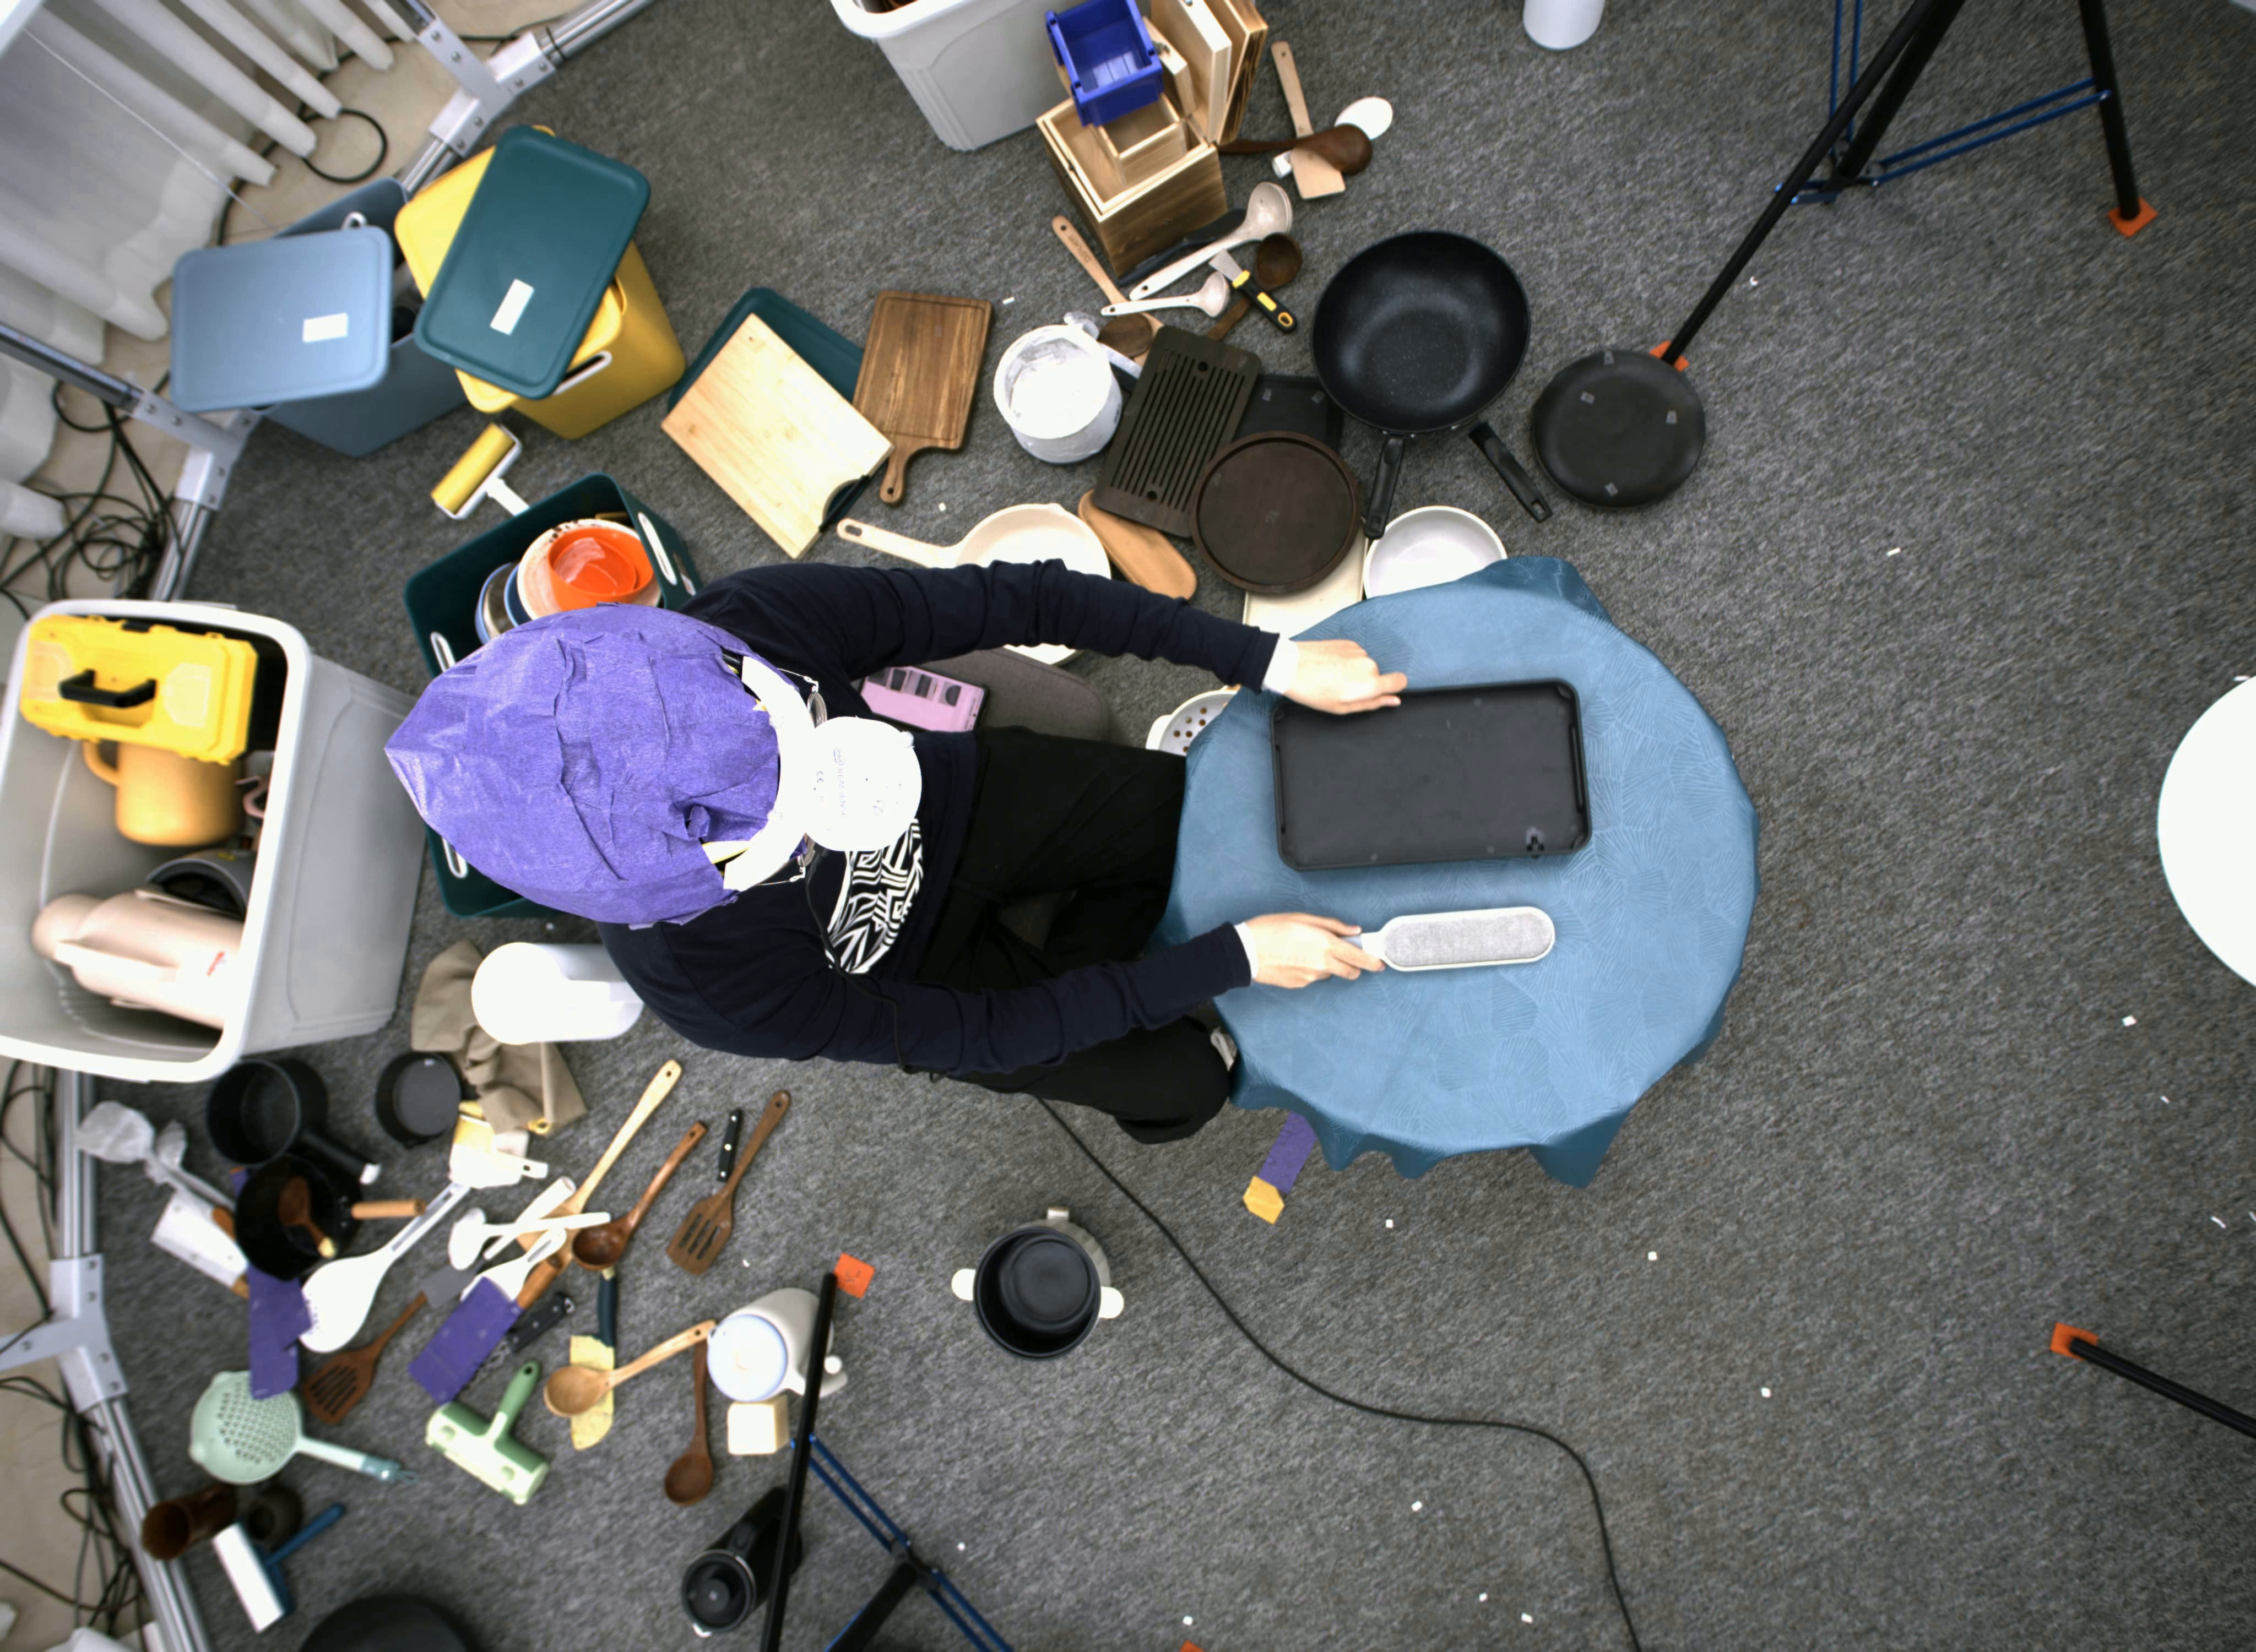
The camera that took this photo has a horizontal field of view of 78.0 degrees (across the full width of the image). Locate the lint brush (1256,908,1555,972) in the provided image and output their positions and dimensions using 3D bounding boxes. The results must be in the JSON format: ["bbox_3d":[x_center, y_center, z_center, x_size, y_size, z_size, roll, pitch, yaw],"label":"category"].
[{"bbox_3d":[0.286,0.120,1.429,0.310,0.021,0.060,-5,98,6],"label":"lint brush"}]

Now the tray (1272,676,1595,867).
[{"bbox_3d":[0.312,-0.056,1.423,0.319,0.037,0.183,-3,82,8],"label":"tray"}]
